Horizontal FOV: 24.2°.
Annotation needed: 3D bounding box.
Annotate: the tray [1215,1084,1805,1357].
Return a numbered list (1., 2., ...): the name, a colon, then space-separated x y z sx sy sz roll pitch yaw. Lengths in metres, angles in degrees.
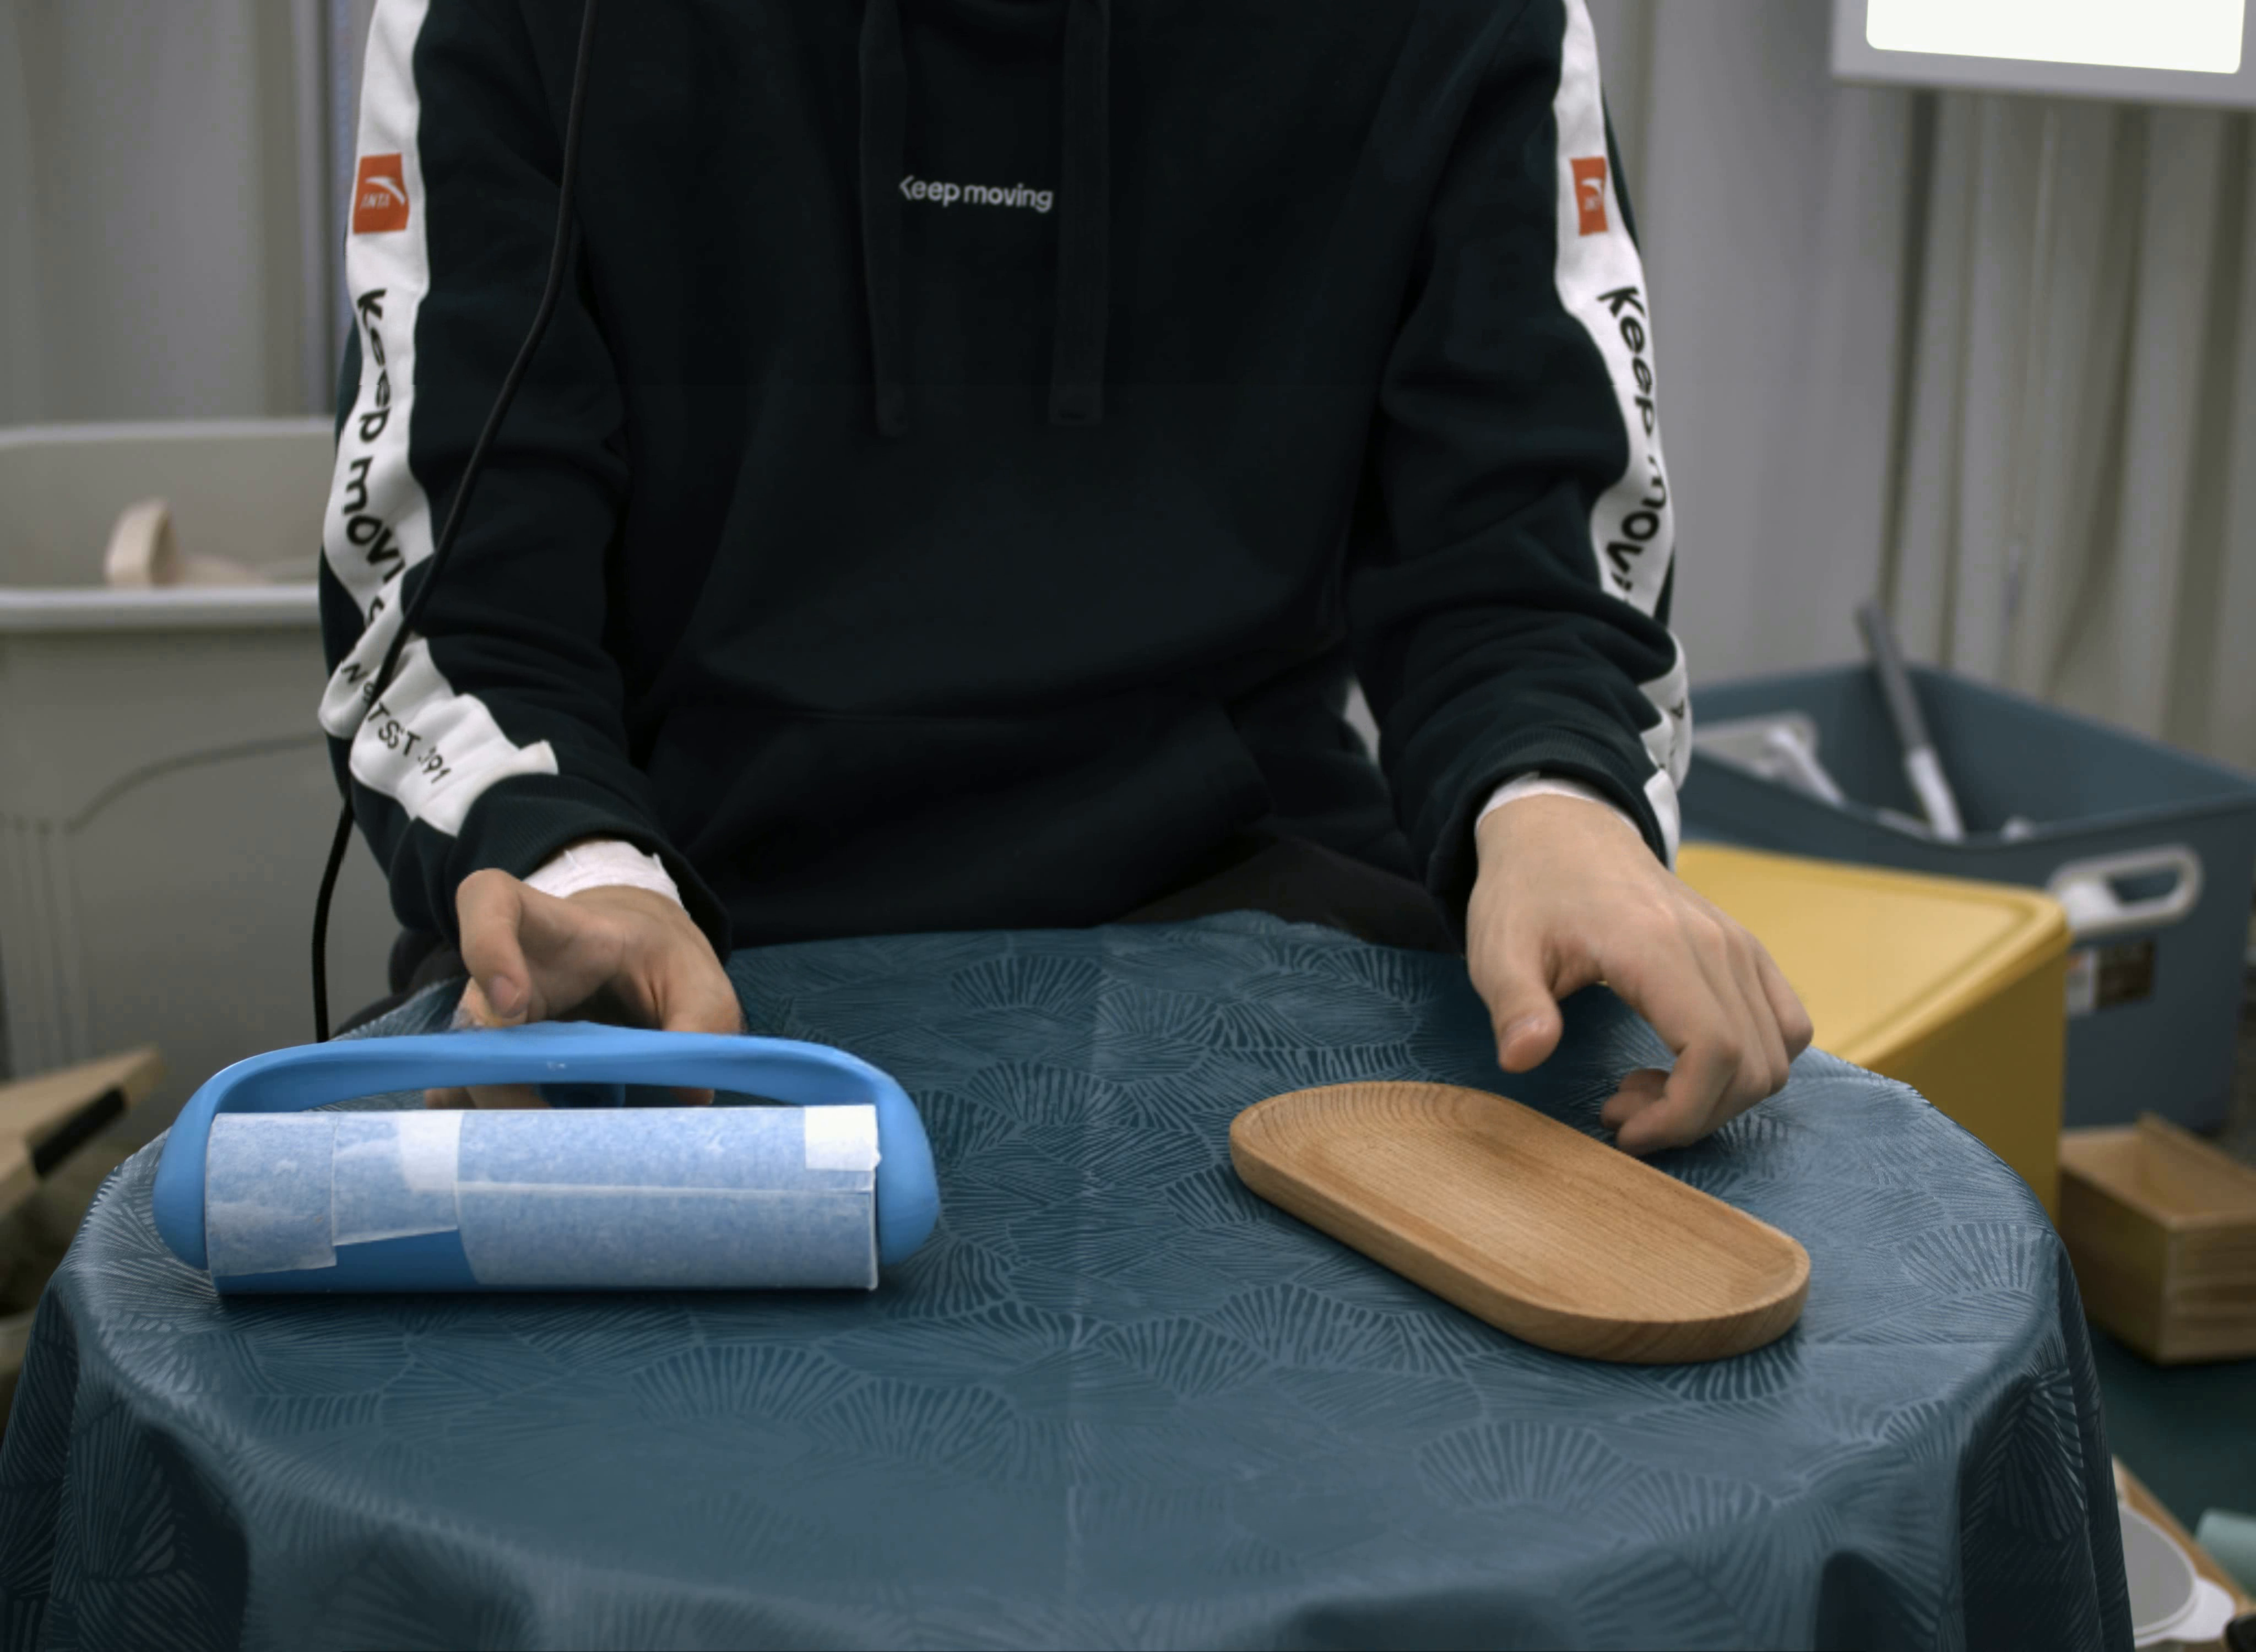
1. tray: 0.112 0.116 1.579 0.102 0.020 0.228 -7 16 -31

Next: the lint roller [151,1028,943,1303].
1. lint roller: -0.172 0.091 1.582 0.228 0.068 0.179 -3 17 -4
